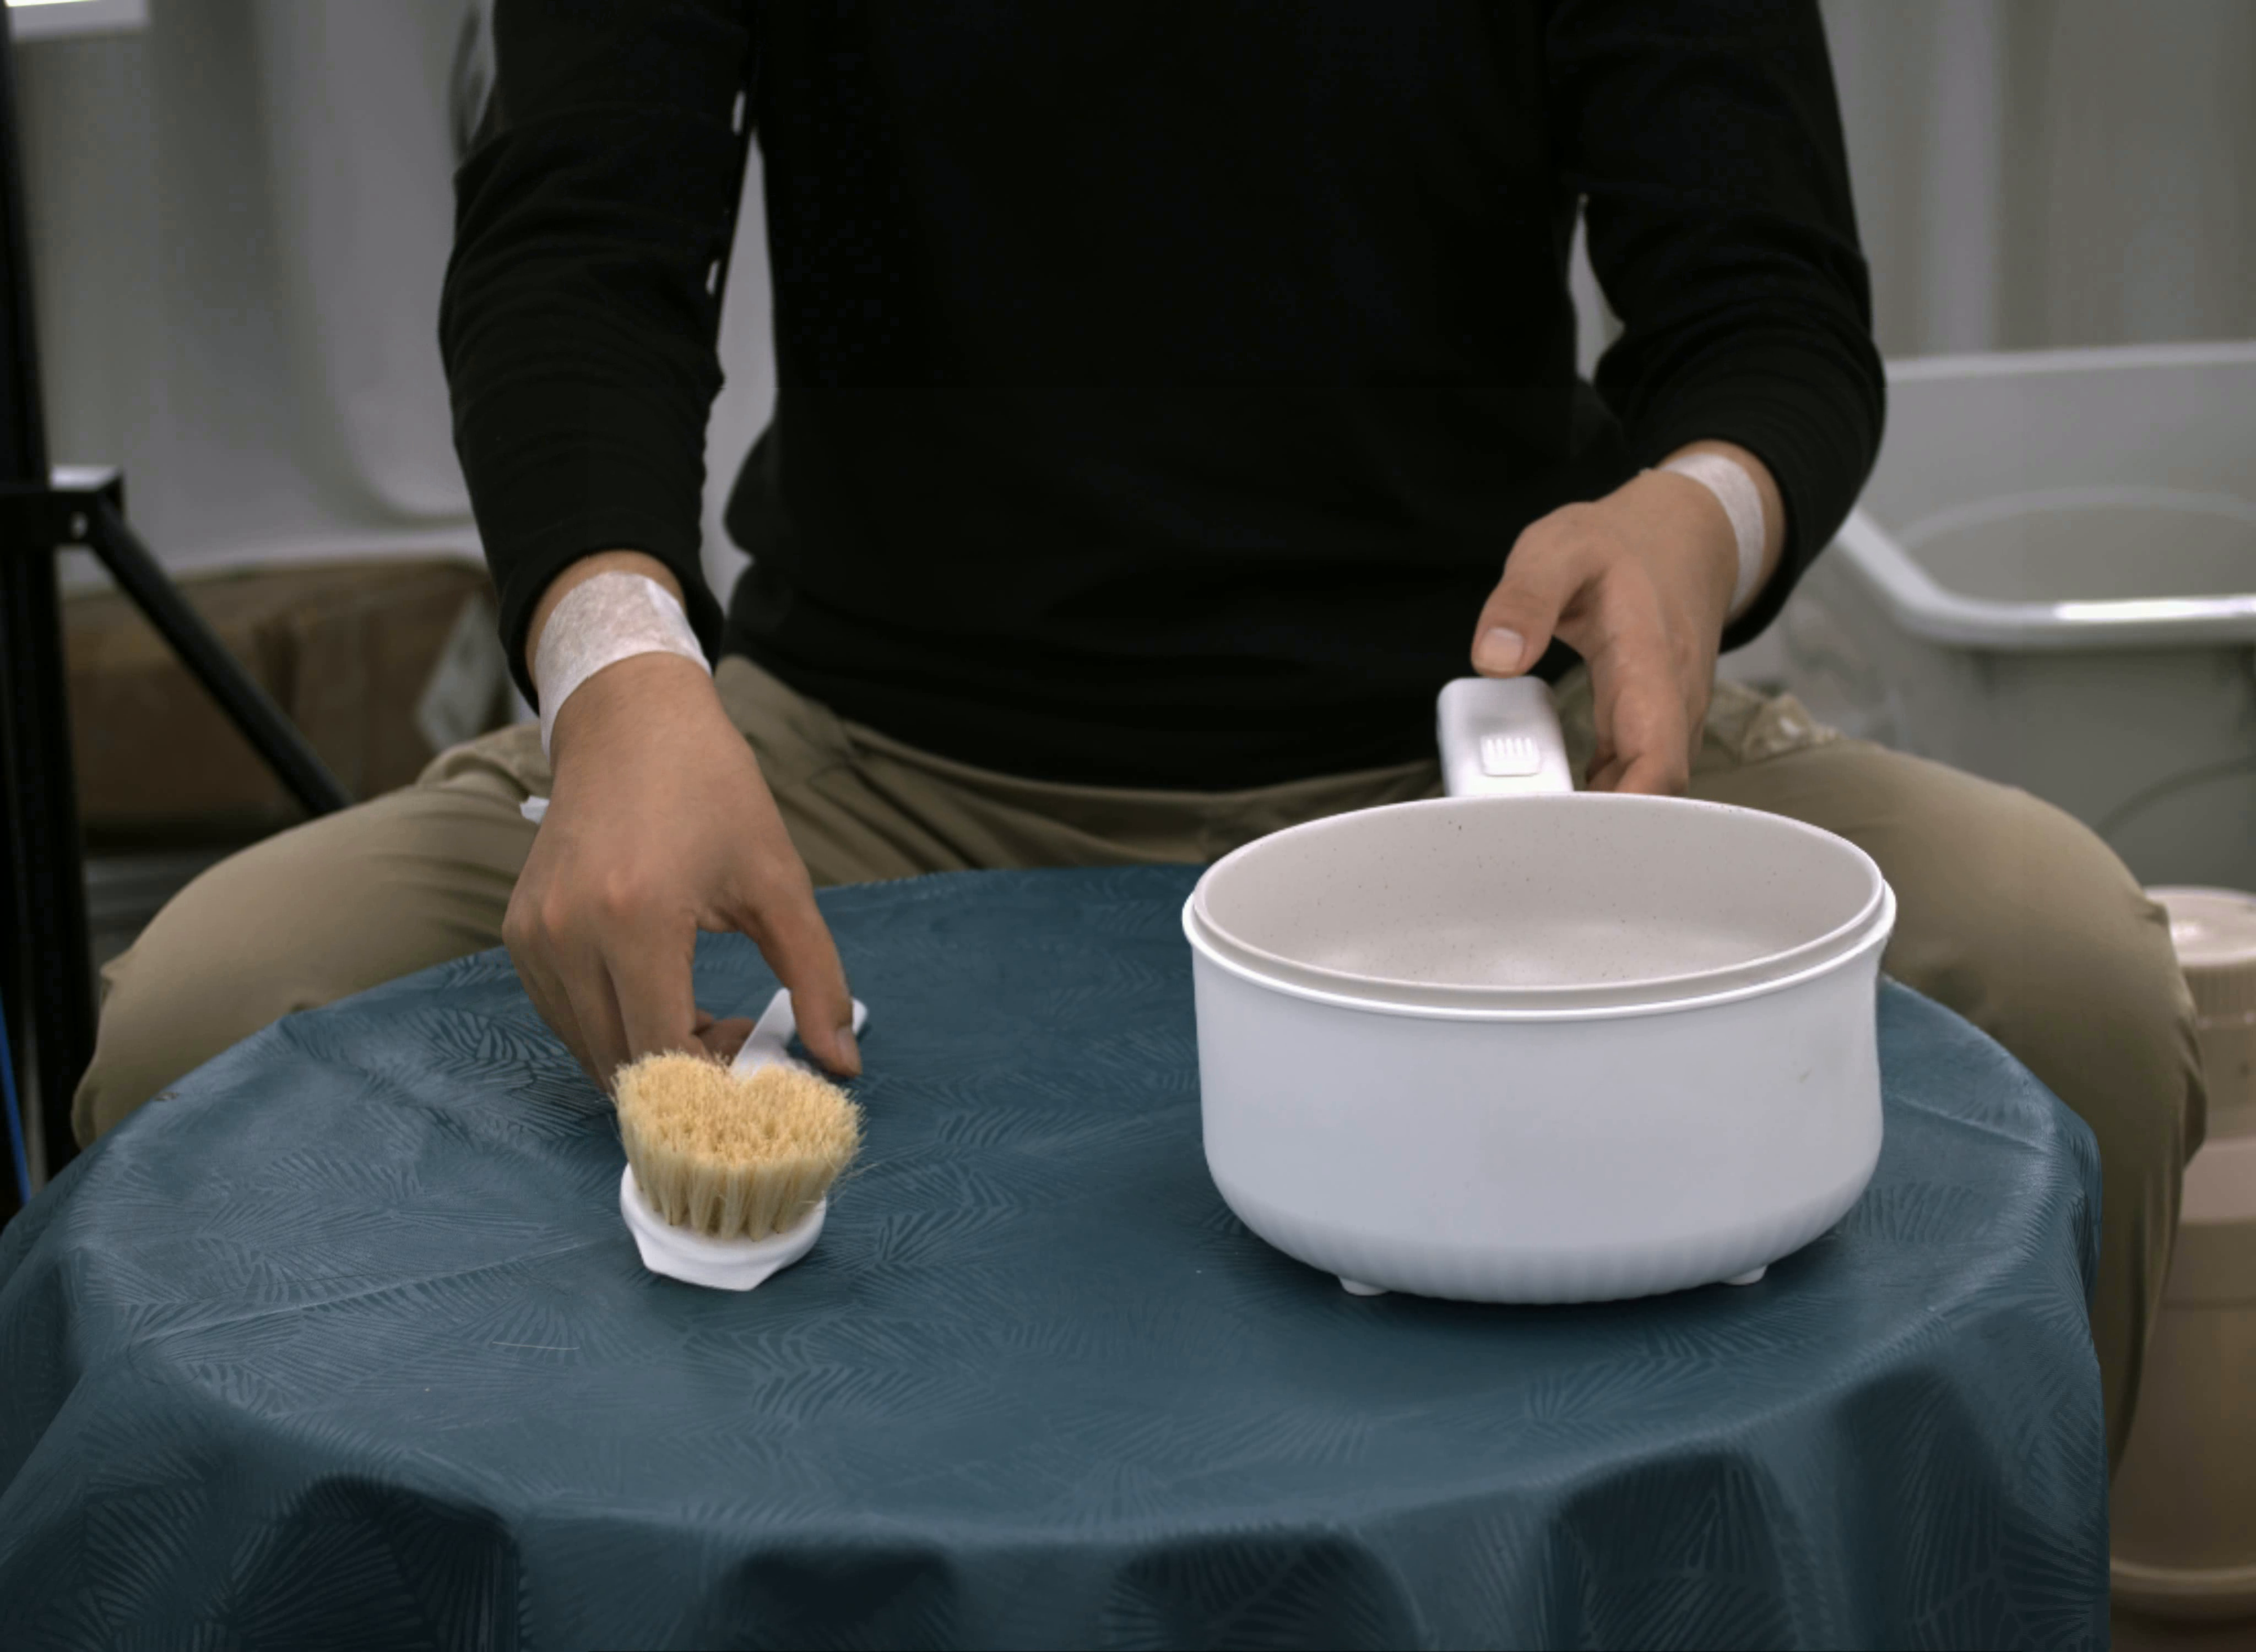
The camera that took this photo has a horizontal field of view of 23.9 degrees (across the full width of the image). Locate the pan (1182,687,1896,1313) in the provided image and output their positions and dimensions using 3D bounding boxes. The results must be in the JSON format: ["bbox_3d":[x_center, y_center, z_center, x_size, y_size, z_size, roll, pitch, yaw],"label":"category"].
[{"bbox_3d":[0.119,0.047,1.579,0.201,0.102,0.355,-3,15,3],"label":"pan"}]

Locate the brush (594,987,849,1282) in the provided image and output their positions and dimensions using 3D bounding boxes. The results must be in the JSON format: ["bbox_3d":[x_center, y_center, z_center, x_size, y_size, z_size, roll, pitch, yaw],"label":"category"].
[{"bbox_3d":[-0.111,0.068,1.610,0.068,0.056,0.266,17,15,2],"label":"brush"}]
